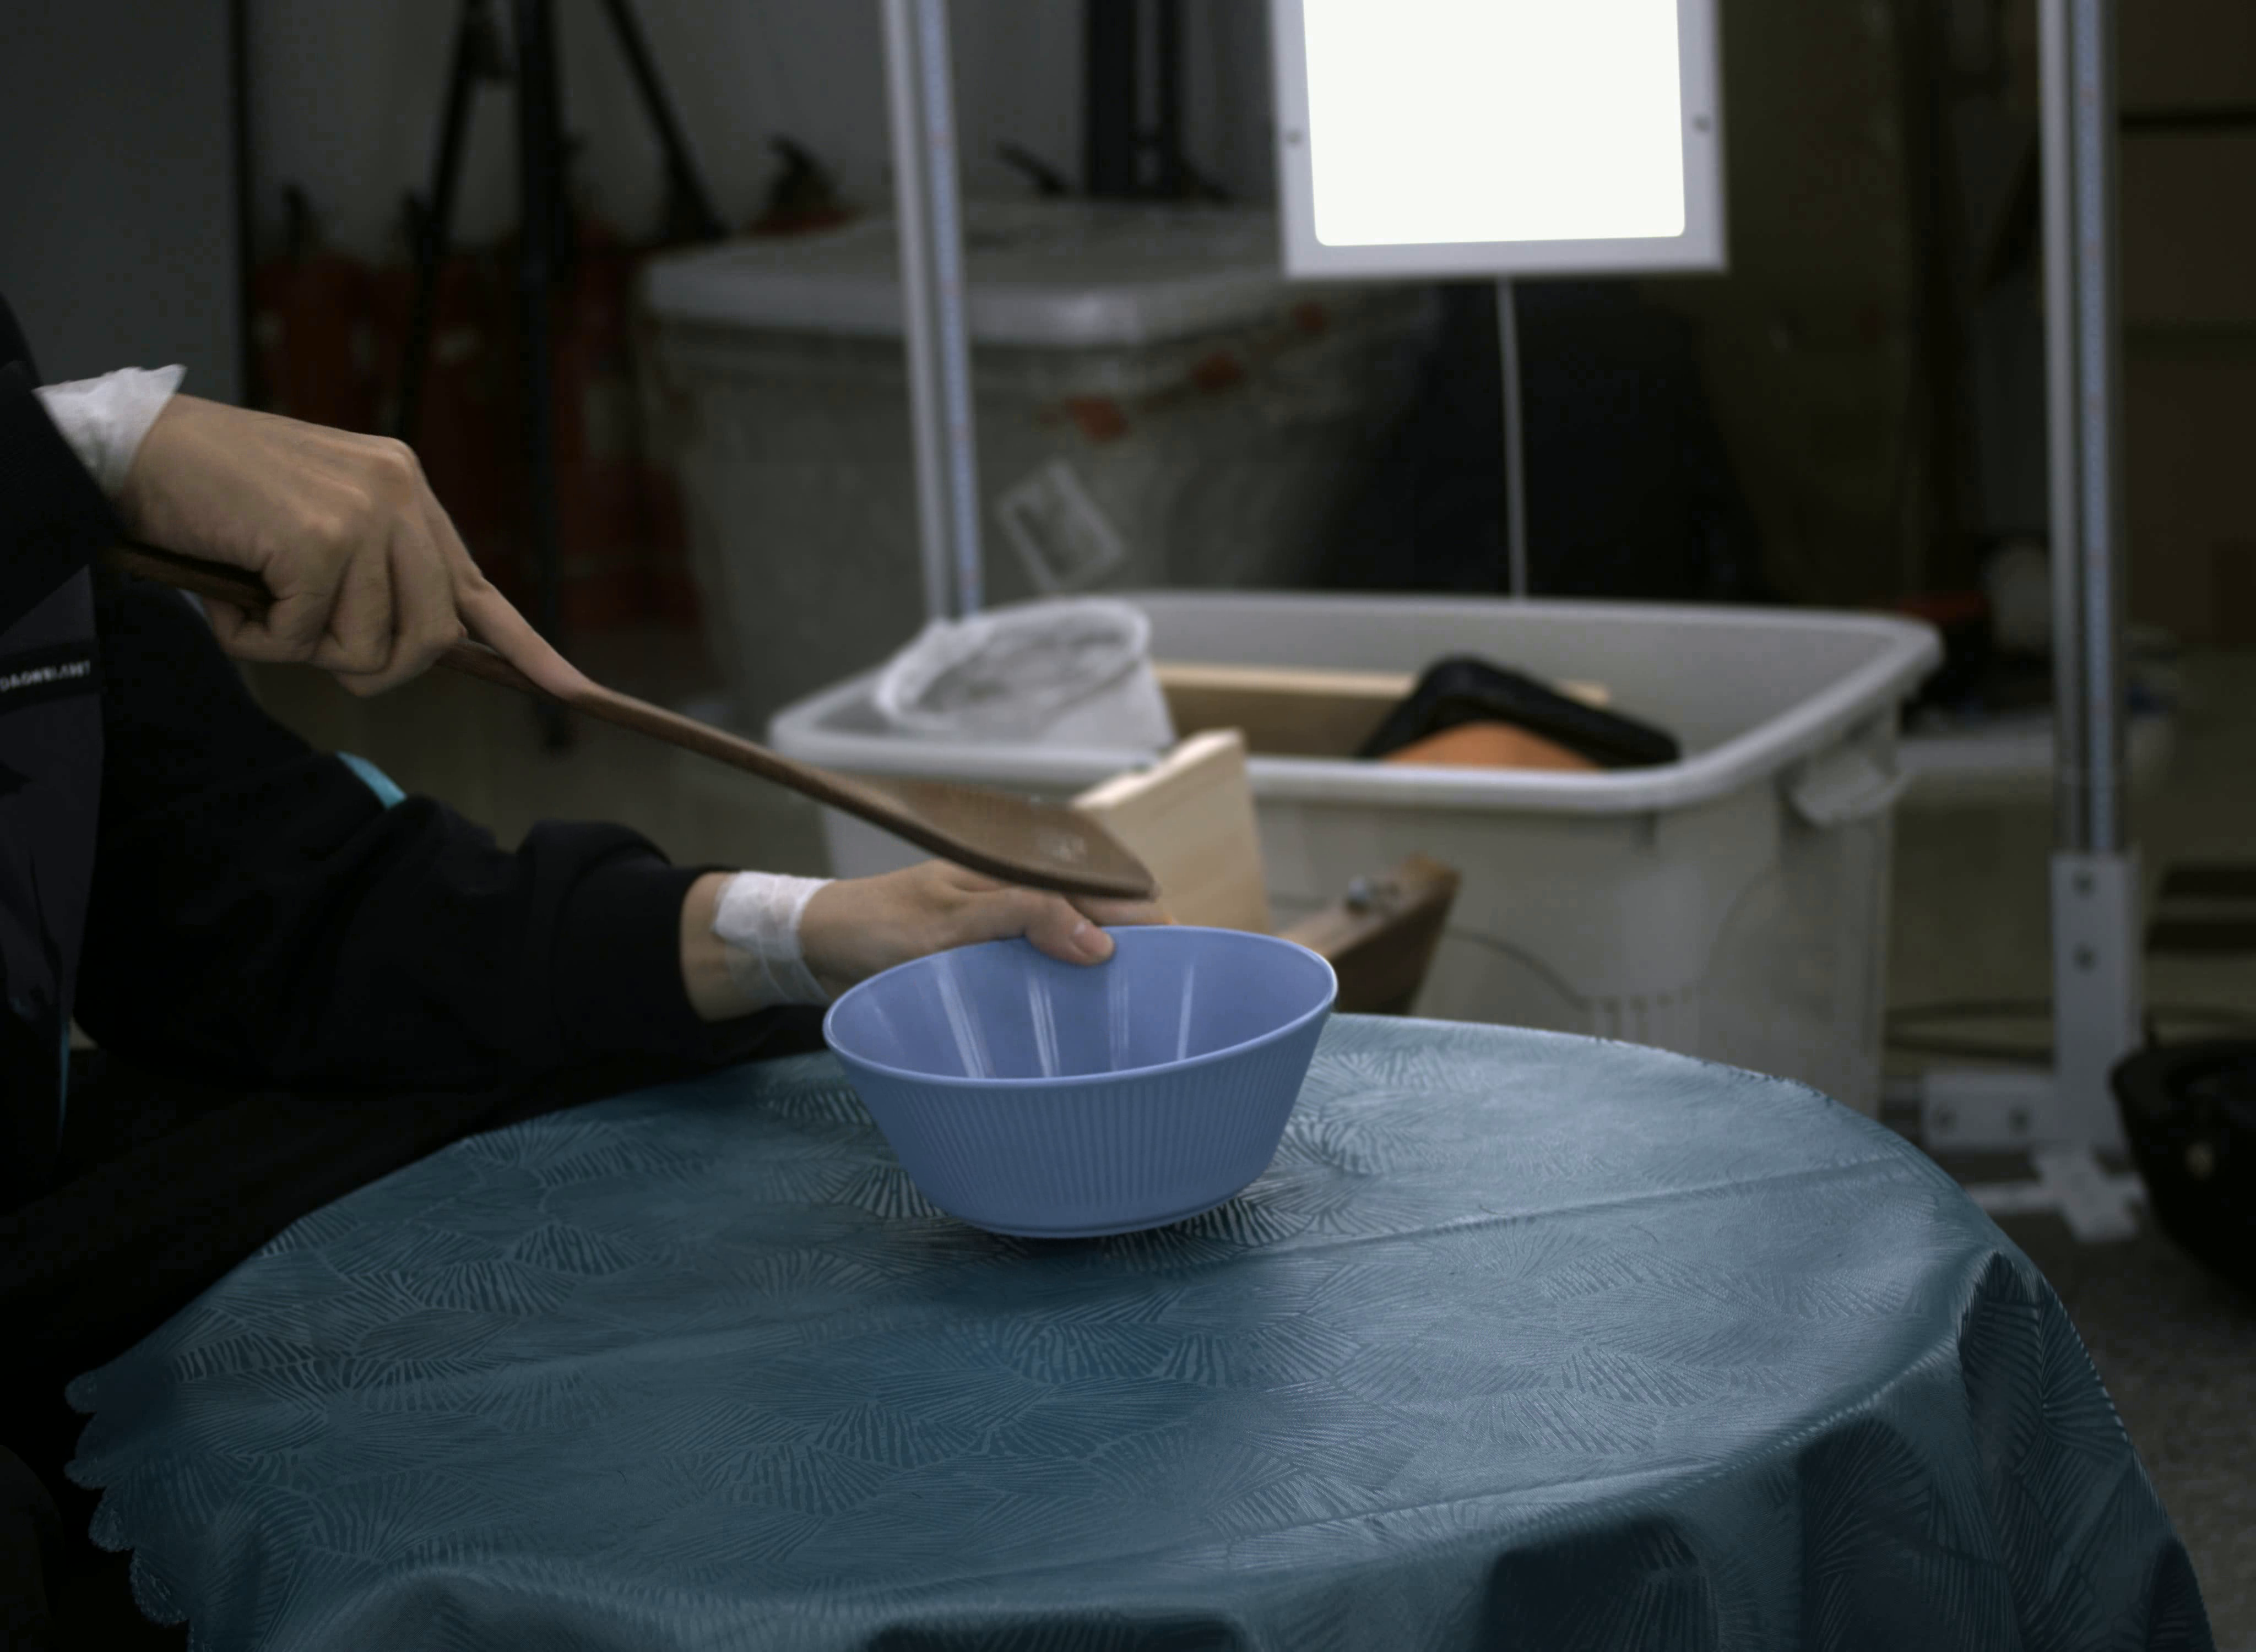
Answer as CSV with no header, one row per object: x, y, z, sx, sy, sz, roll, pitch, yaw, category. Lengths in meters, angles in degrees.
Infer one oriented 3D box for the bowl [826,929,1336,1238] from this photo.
-0.013,0.090,1.870,0.175,0.070,0.176,-7,14,0,bowl

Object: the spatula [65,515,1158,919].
-0.163,-0.036,1.796,0.380,0.016,0.097,20,10,-21,spatula
